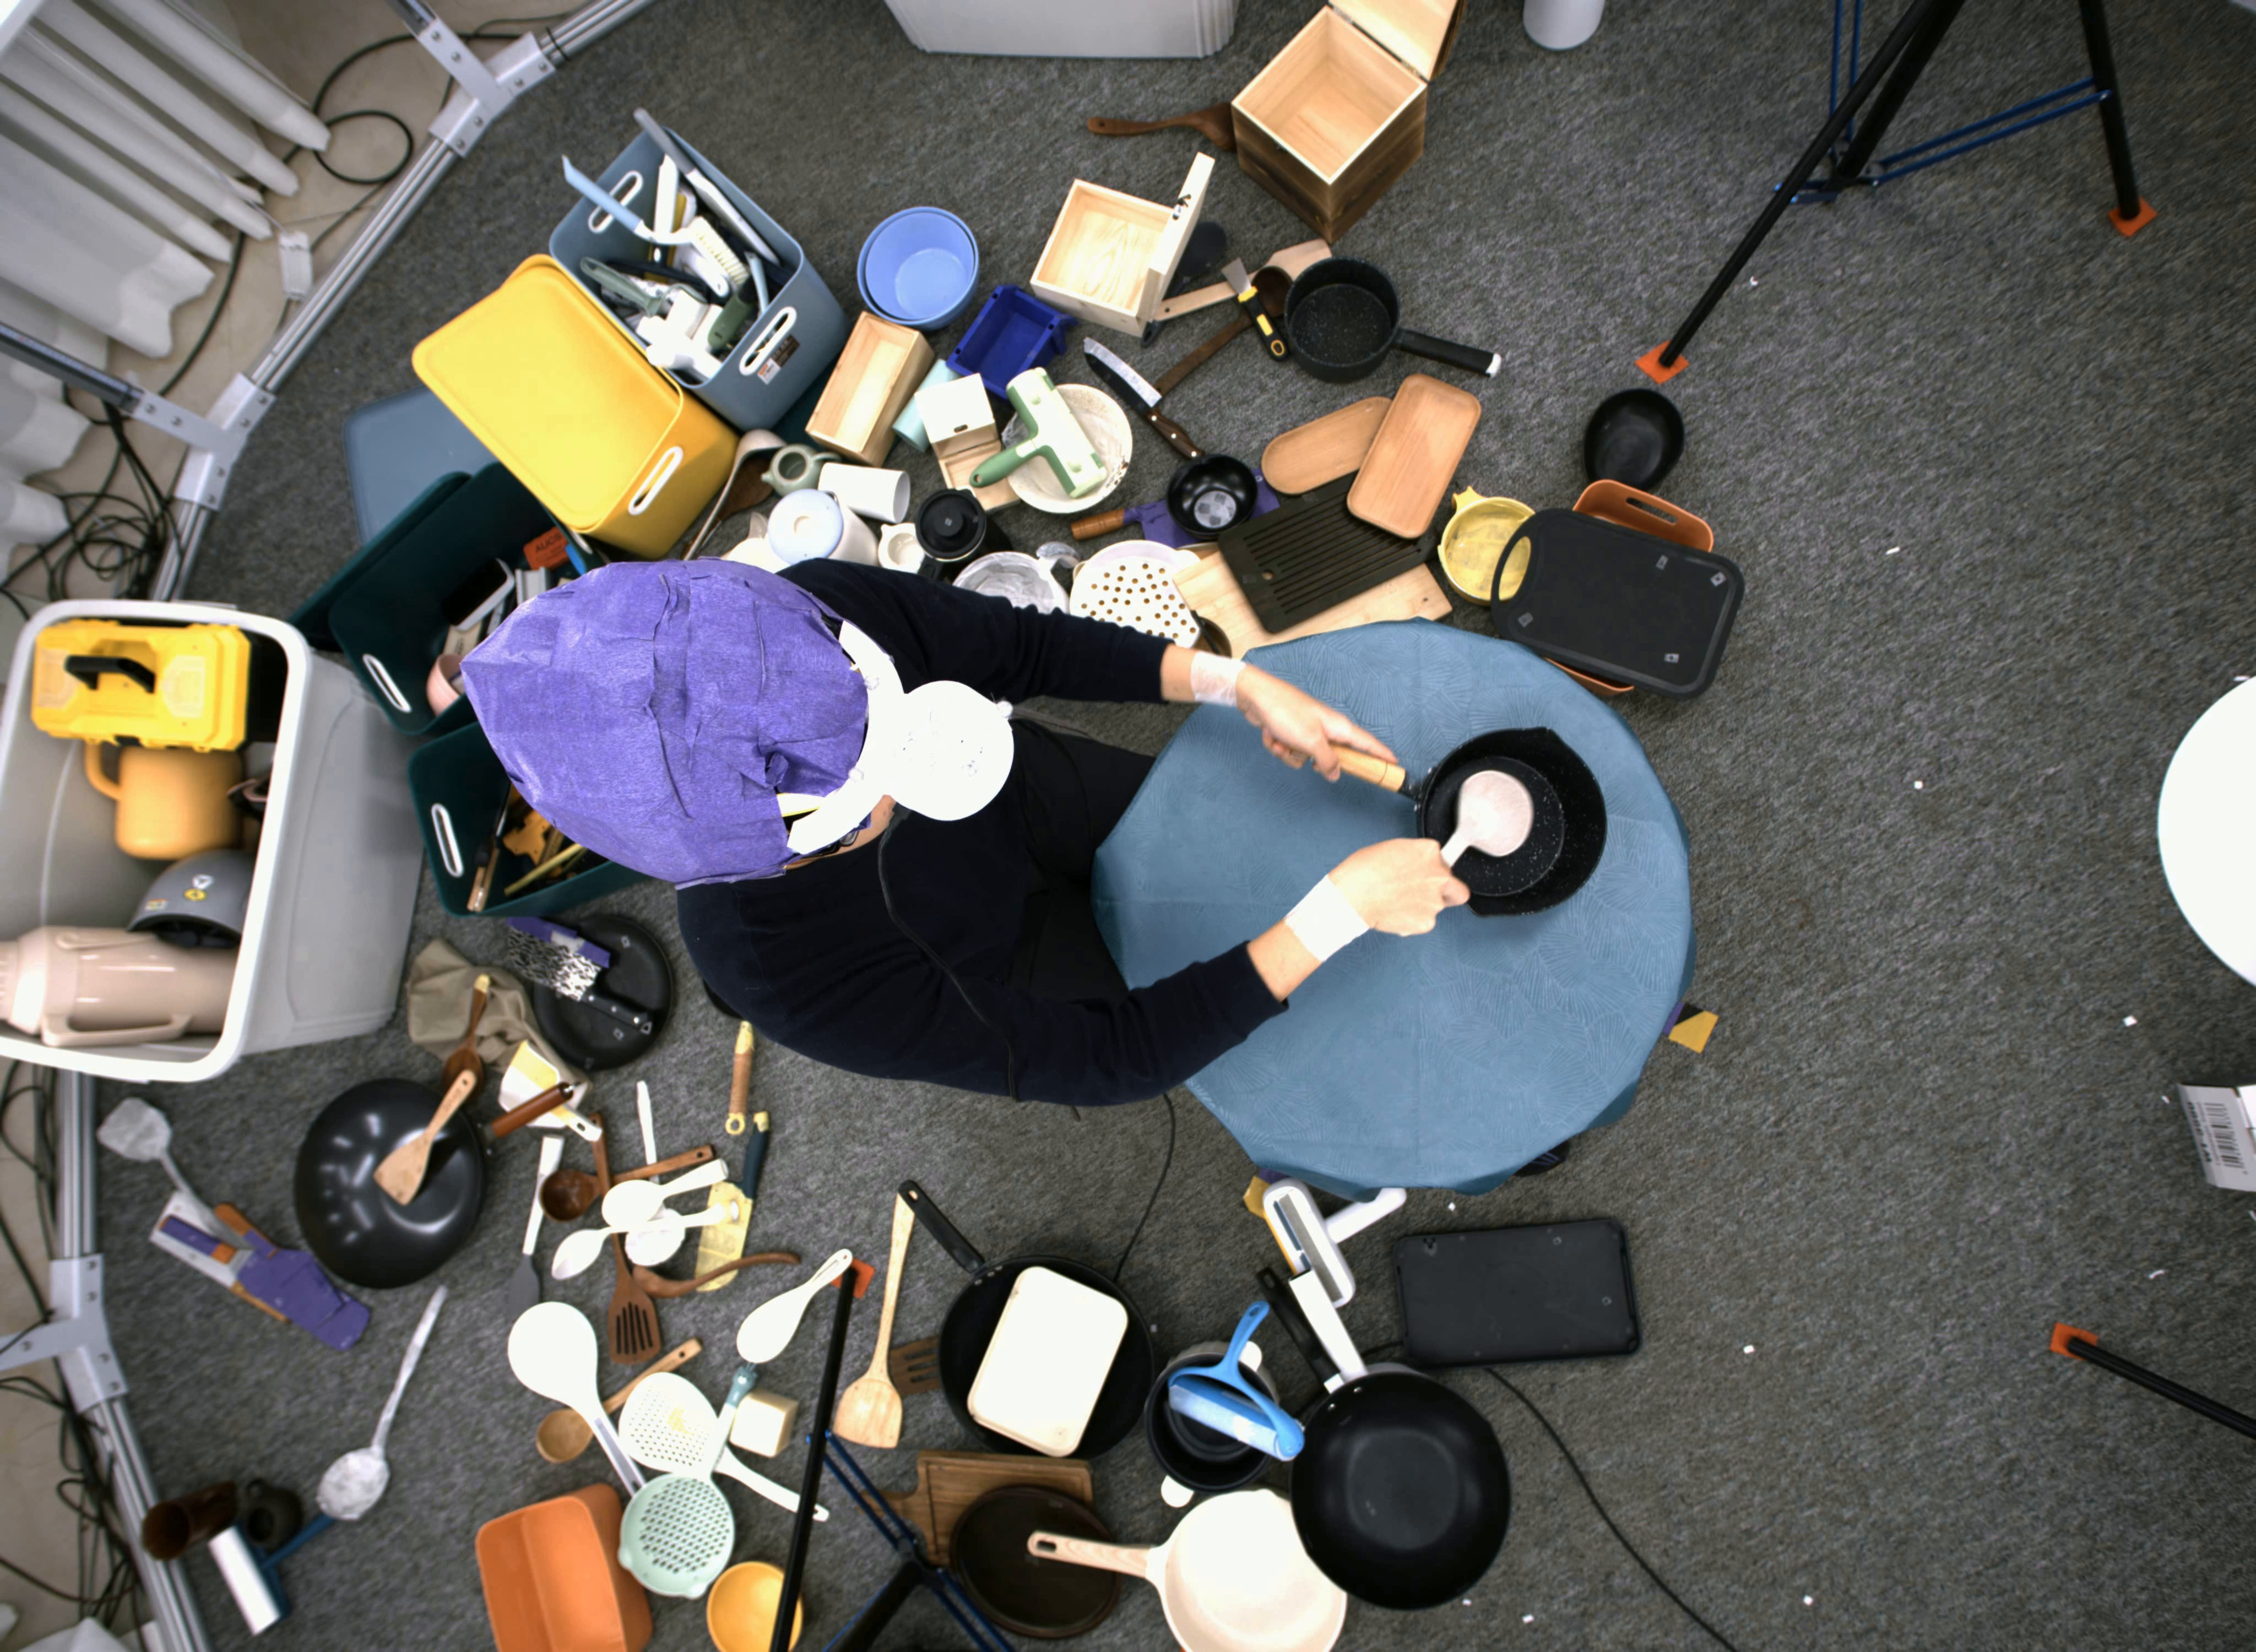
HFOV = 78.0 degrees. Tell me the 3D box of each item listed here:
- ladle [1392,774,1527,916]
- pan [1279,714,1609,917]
[{"bbox_3d":[0.320,0.021,1.312,0.070,0.269,0.090,-18,99,31],"label":"ladle"},{"bbox_3d":[0.307,-0.033,1.382,0.343,0.108,0.207,20,91,1],"label":"pan"}]
